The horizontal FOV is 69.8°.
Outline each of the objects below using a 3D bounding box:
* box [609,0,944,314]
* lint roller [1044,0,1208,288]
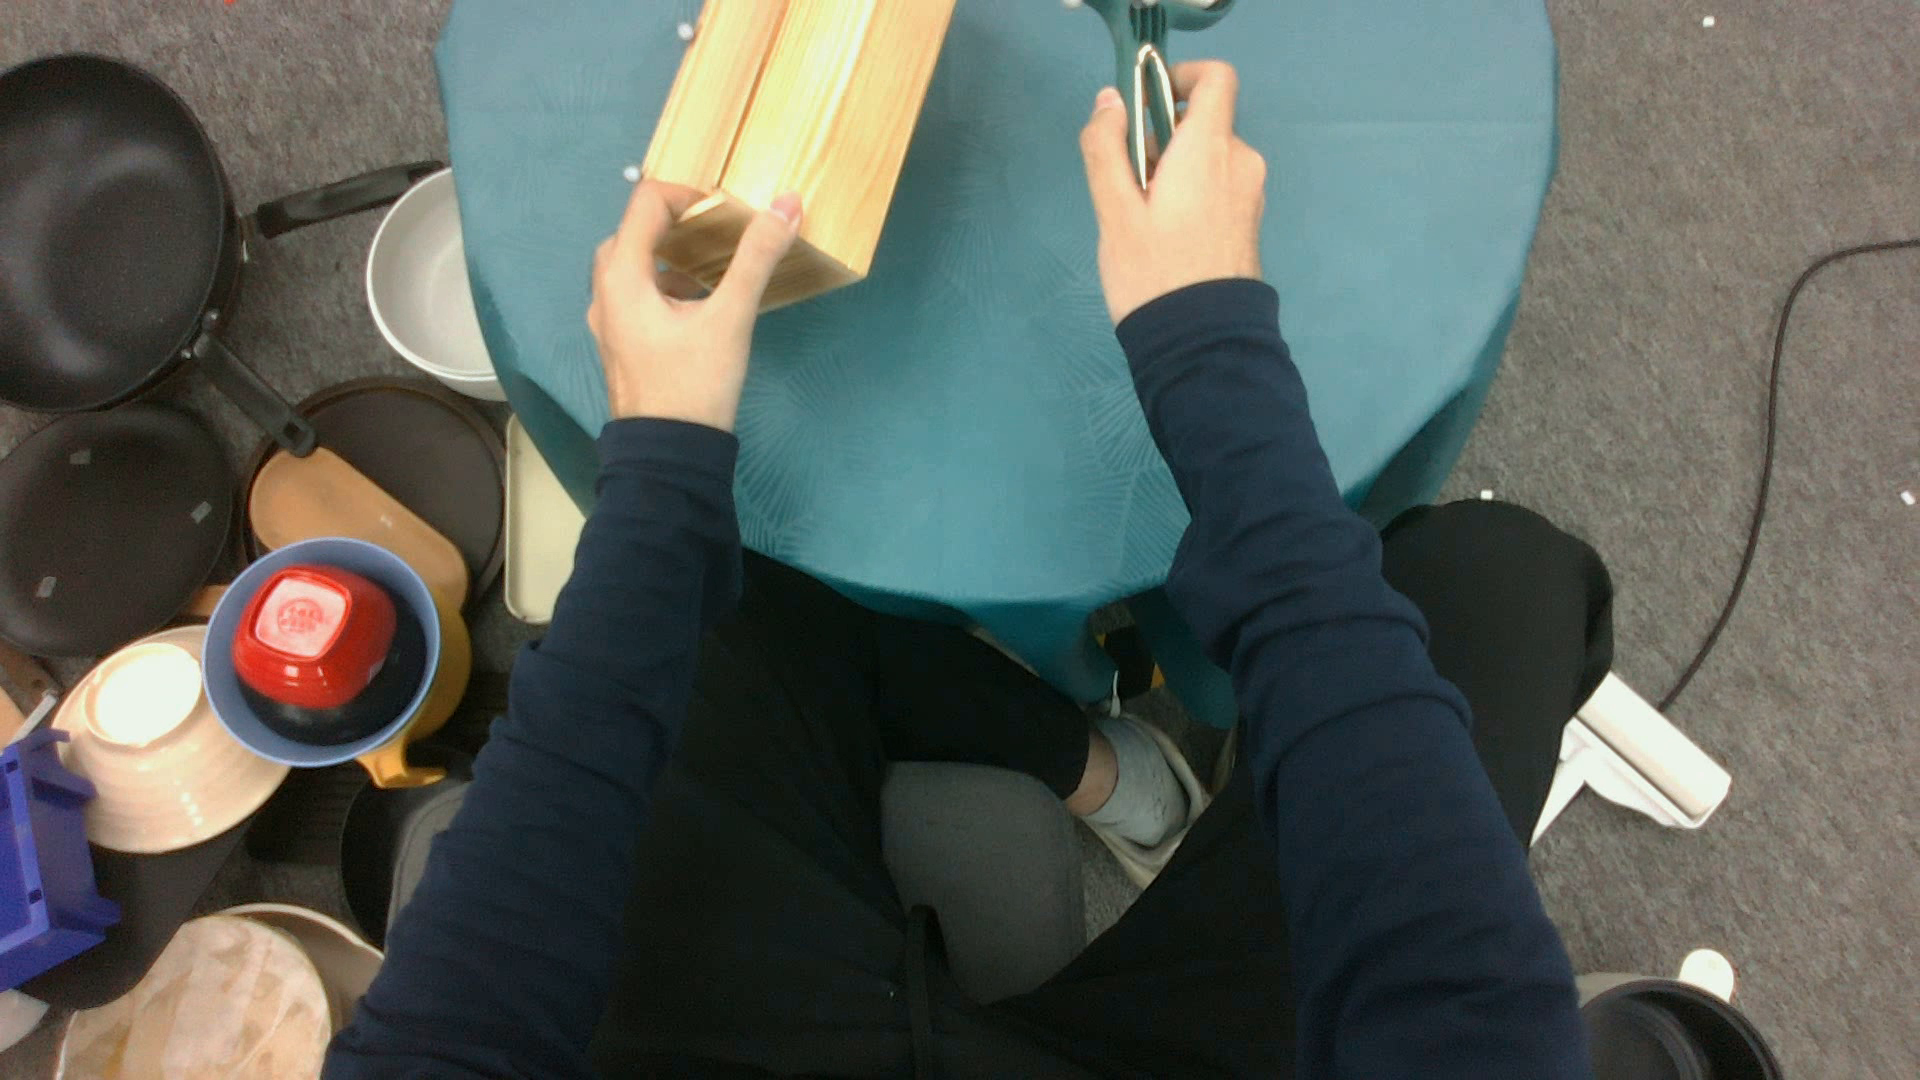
[{"bbox_3d":[-0.081,-0.229,0.673,0.080,0.107,0.212,27,71,-35],"label":"box"},{"bbox_3d":[0.073,-0.203,0.601,0.135,0.048,0.180,-4,80,-41],"label":"lint roller"}]
